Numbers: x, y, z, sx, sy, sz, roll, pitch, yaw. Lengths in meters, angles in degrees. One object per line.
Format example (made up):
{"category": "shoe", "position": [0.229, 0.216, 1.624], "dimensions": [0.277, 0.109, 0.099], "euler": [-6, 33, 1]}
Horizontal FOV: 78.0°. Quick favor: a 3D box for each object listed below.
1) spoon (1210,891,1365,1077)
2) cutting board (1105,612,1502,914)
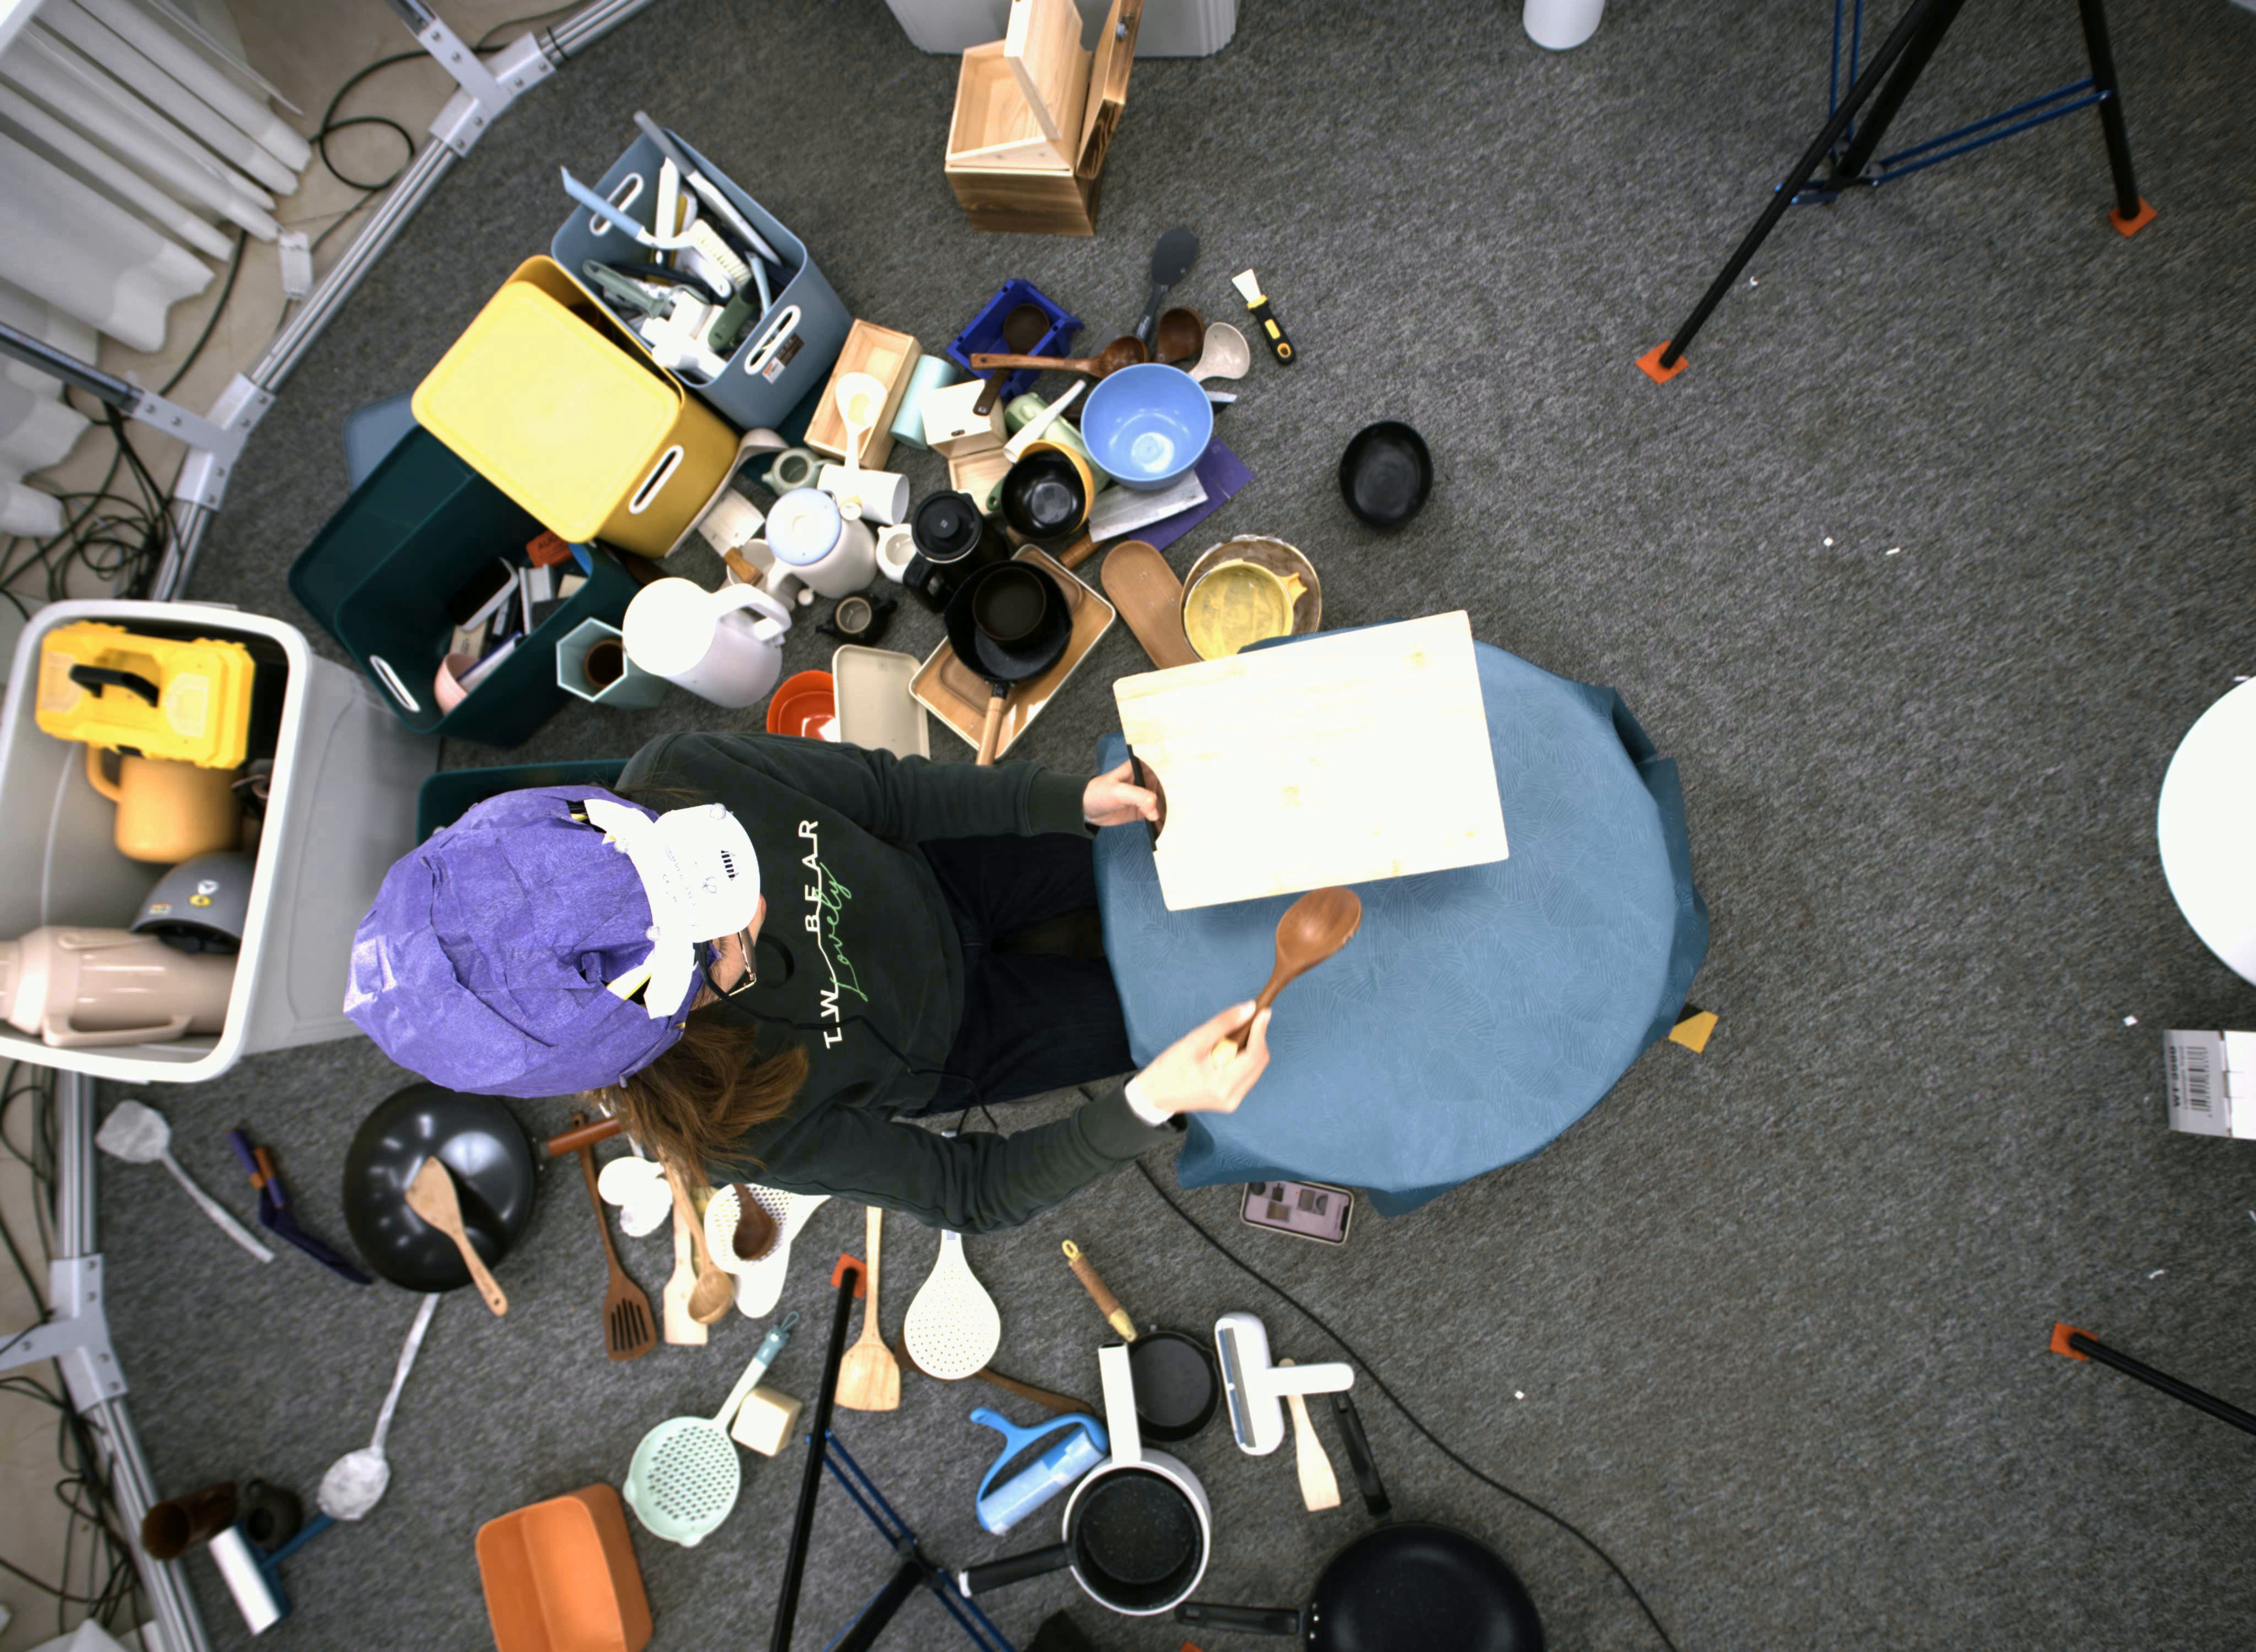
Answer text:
{"category": "spoon", "position": [0.137, 0.137, 1.220], "dimensions": [0.075, 0.017, 0.212], "euler": [20, 58, 37]}
{"category": "cutting board", "position": [0.172, -0.056, 1.331], "dimensions": [0.351, 0.023, 0.253], "euler": [-11, 105, 16]}
